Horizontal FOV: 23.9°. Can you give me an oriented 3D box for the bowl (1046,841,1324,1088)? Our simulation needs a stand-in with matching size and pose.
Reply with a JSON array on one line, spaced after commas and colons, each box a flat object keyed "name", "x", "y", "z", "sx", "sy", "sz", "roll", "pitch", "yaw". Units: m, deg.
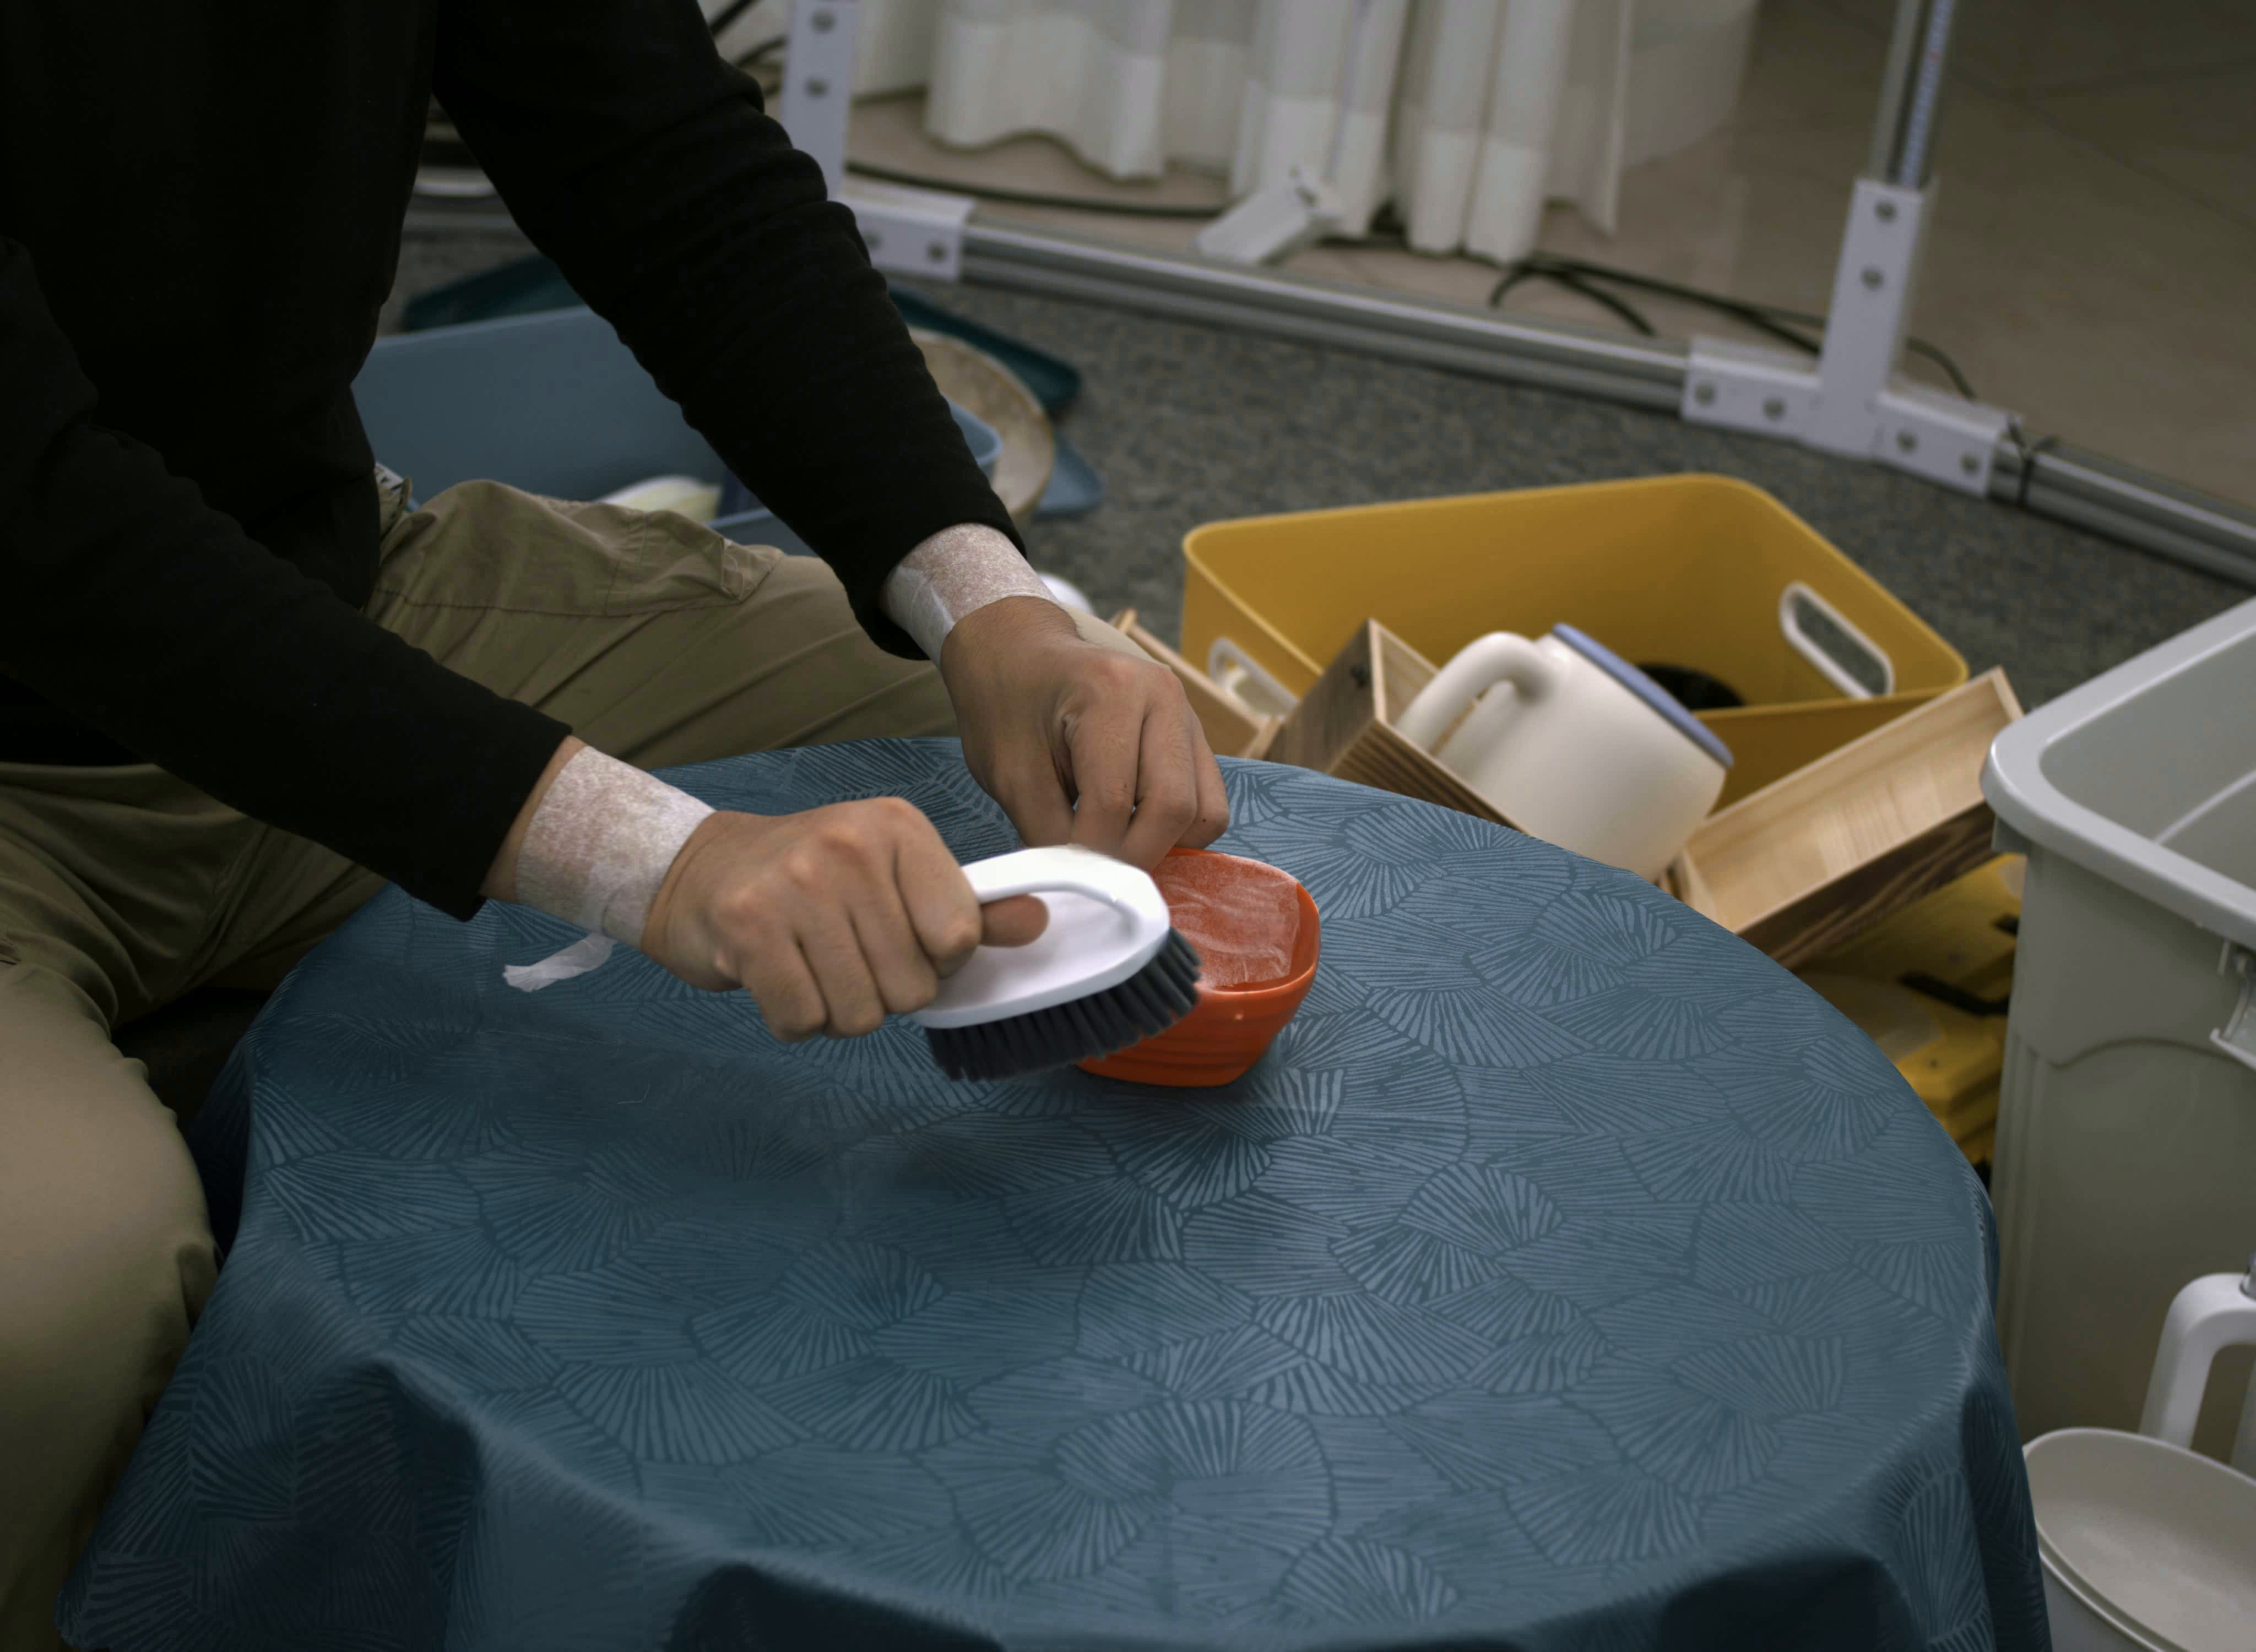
[{"name": "bowl", "x": 0.012, "y": 0.053, "z": 1.886, "sx": 0.118, "sy": 0.051, "sz": 0.119, "roll": 6, "pitch": 27, "yaw": -4}]

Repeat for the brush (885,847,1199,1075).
[{"name": "brush", "x": -0.034, "y": 0.038, "z": 1.771, "sx": 0.099, "sy": 0.072, "sz": 0.050, "roll": -13, "pitch": 44, "yaw": 20}]
